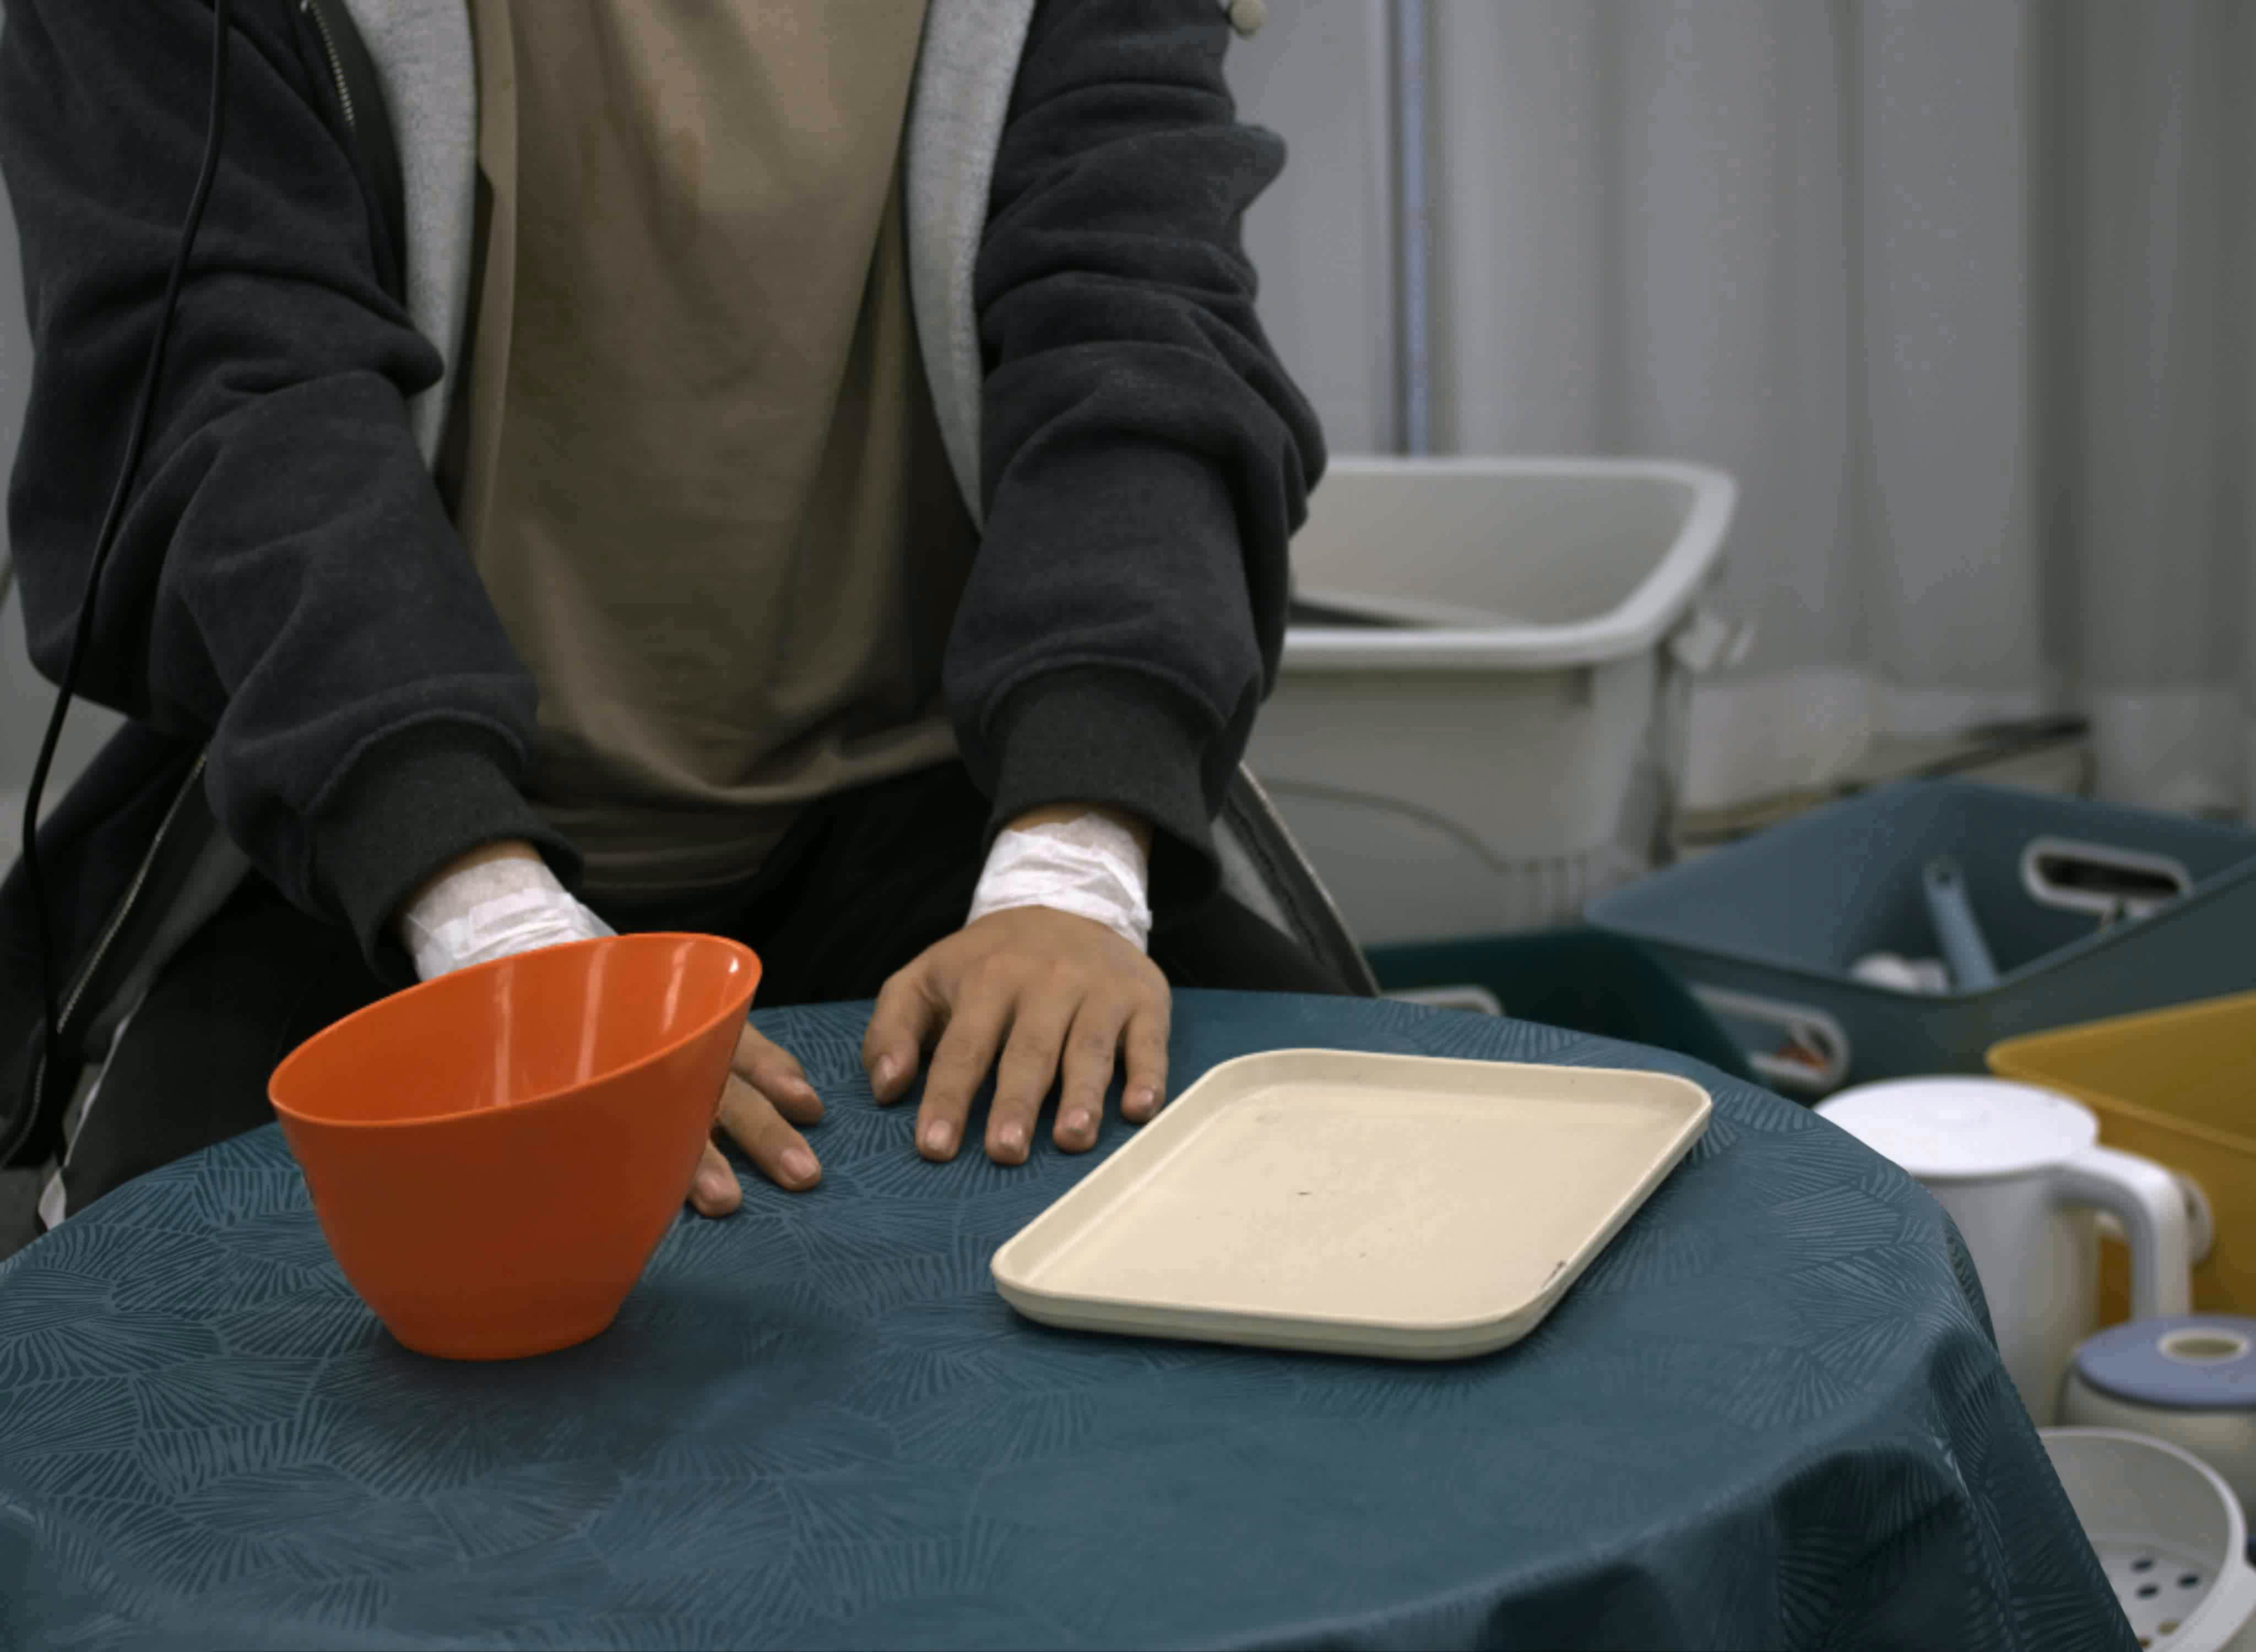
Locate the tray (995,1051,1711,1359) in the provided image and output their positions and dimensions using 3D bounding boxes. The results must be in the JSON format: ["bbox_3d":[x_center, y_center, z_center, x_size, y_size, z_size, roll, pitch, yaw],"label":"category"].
[{"bbox_3d":[0.073,0.114,1.669,0.171,0.017,0.240,2,16,22],"label":"tray"}]

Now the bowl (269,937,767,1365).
[{"bbox_3d":[-0.177,0.099,1.616,0.147,0.104,0.149,-2,16,0],"label":"bowl"}]
